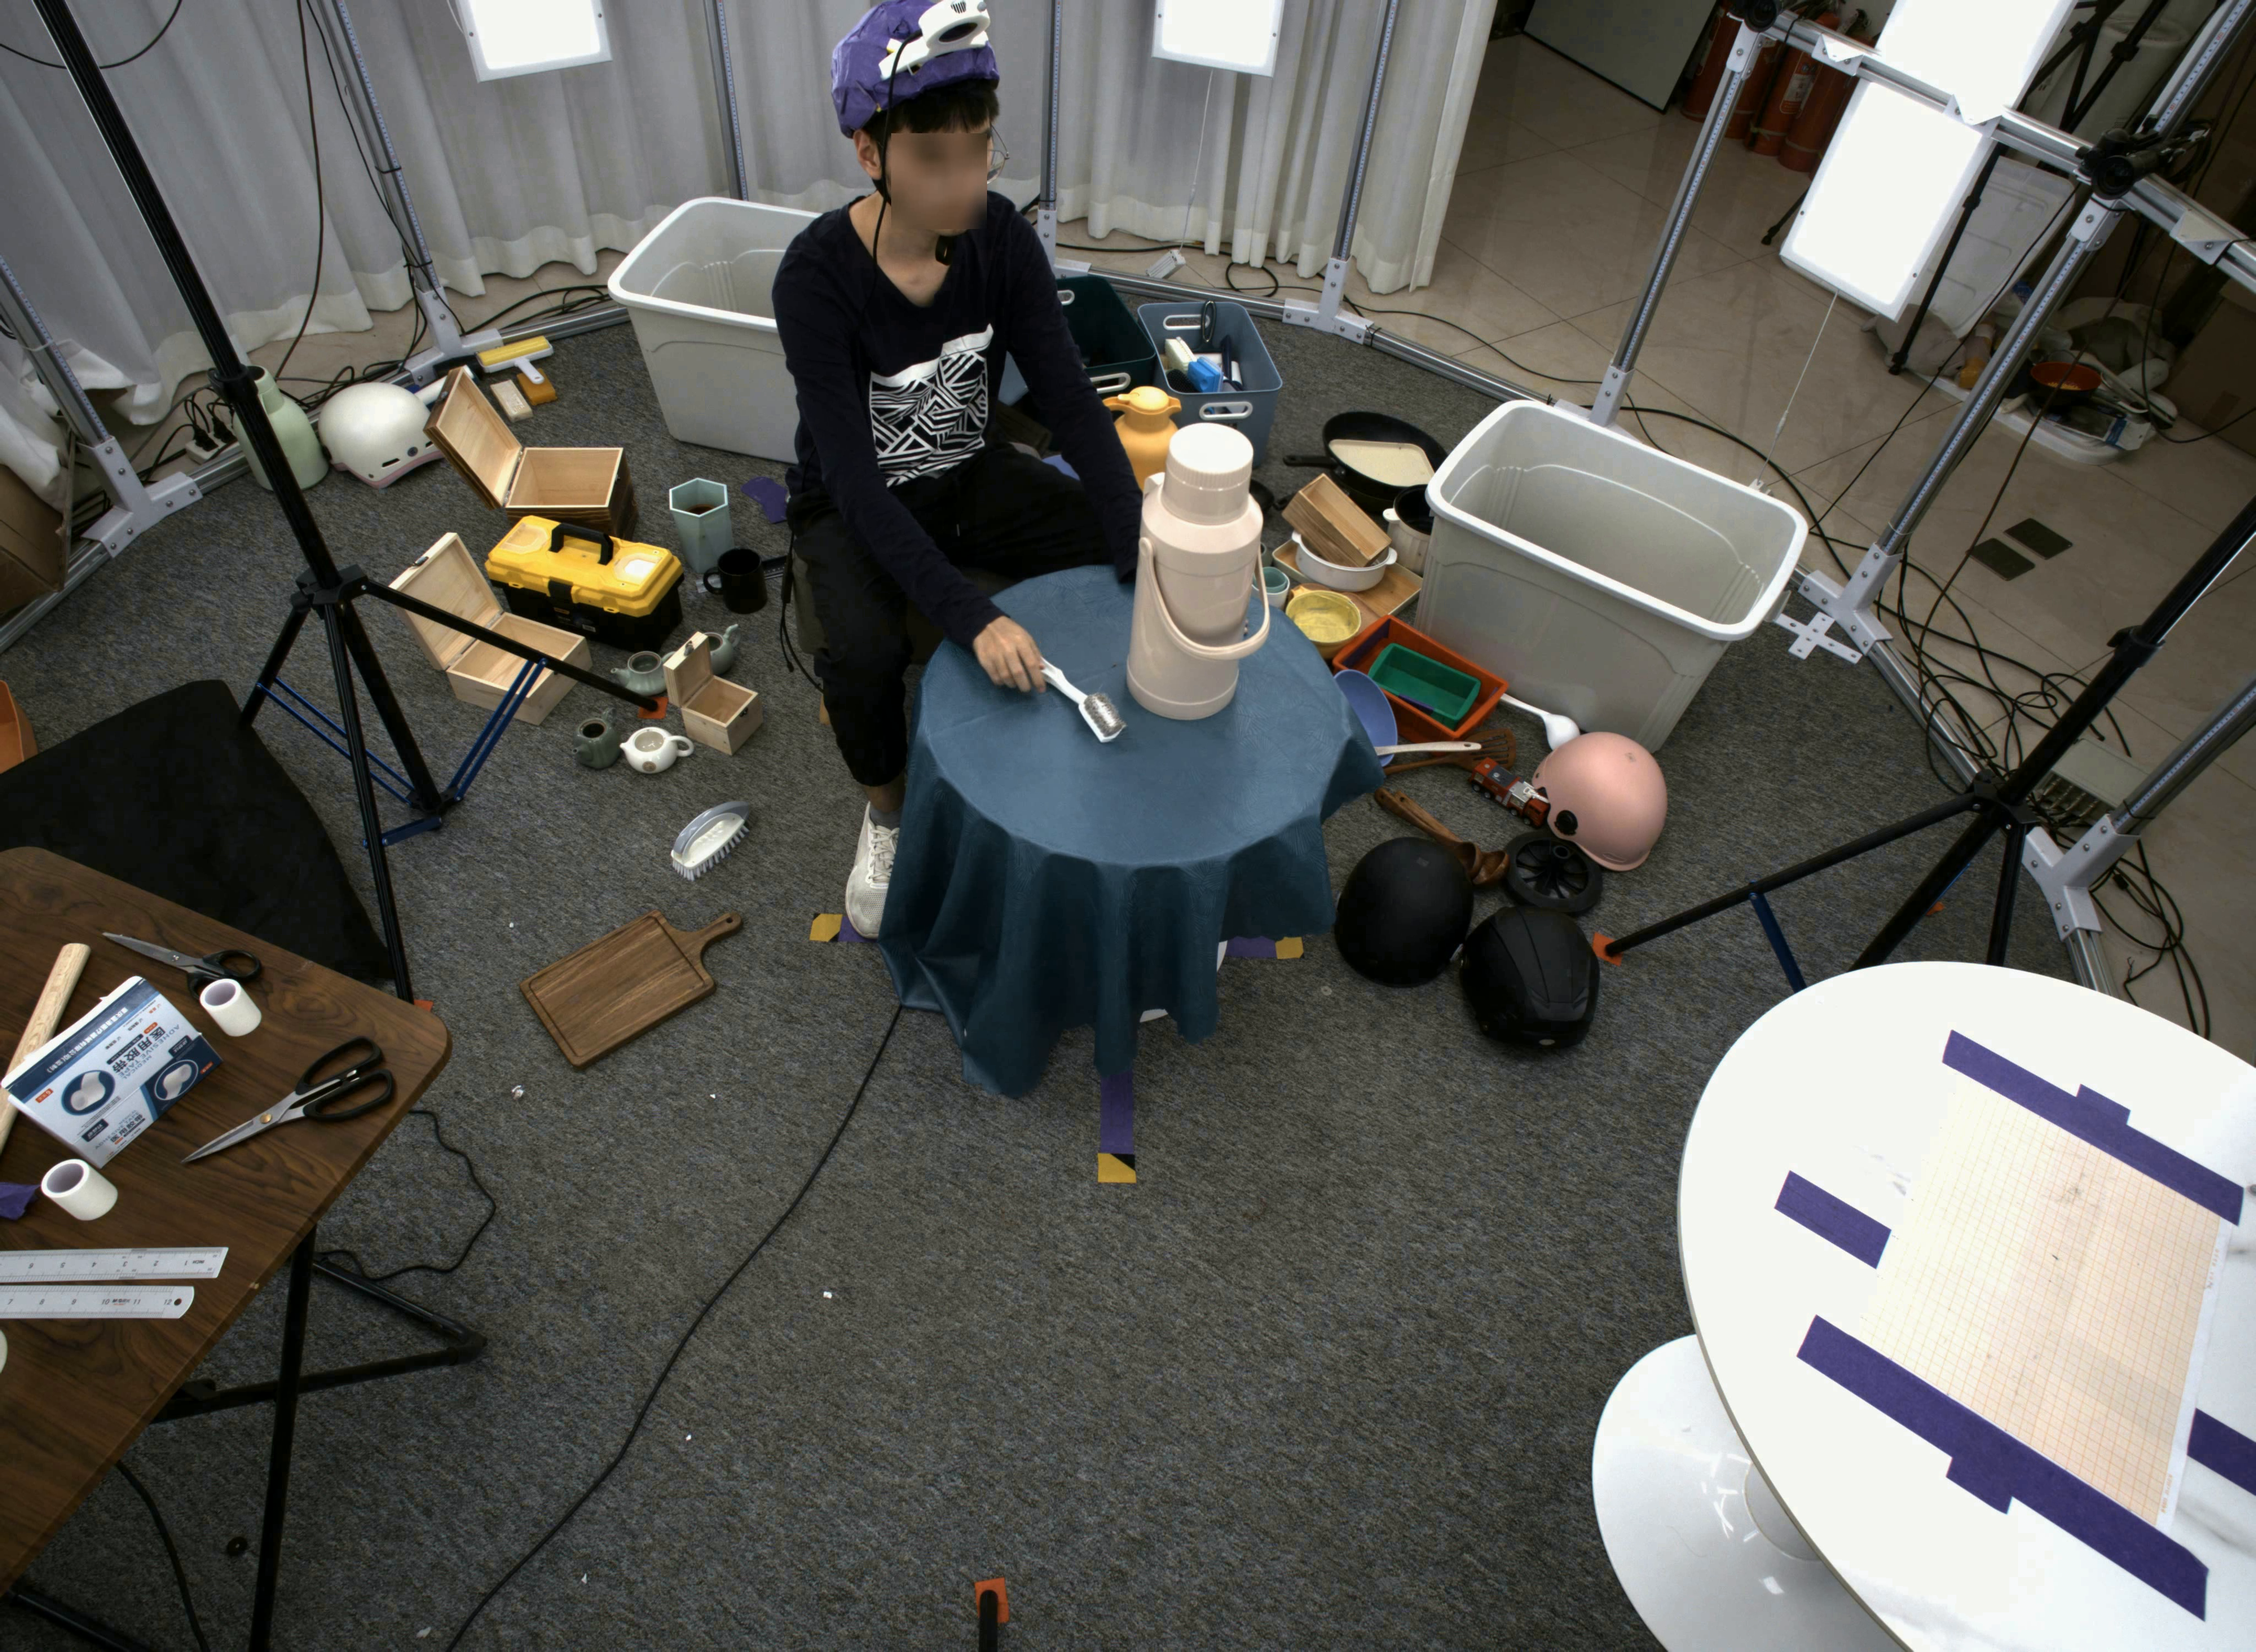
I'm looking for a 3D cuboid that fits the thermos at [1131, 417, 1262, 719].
[{"bbox_3d":[0.083,-0.346,1.718,0.176,0.396,0.211,-25,55,-22],"label":"thermos"}]

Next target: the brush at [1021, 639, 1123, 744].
[{"bbox_3d":[-0.084,-0.204,1.809,0.034,0.049,0.248,-27,55,-20],"label":"brush"}]
